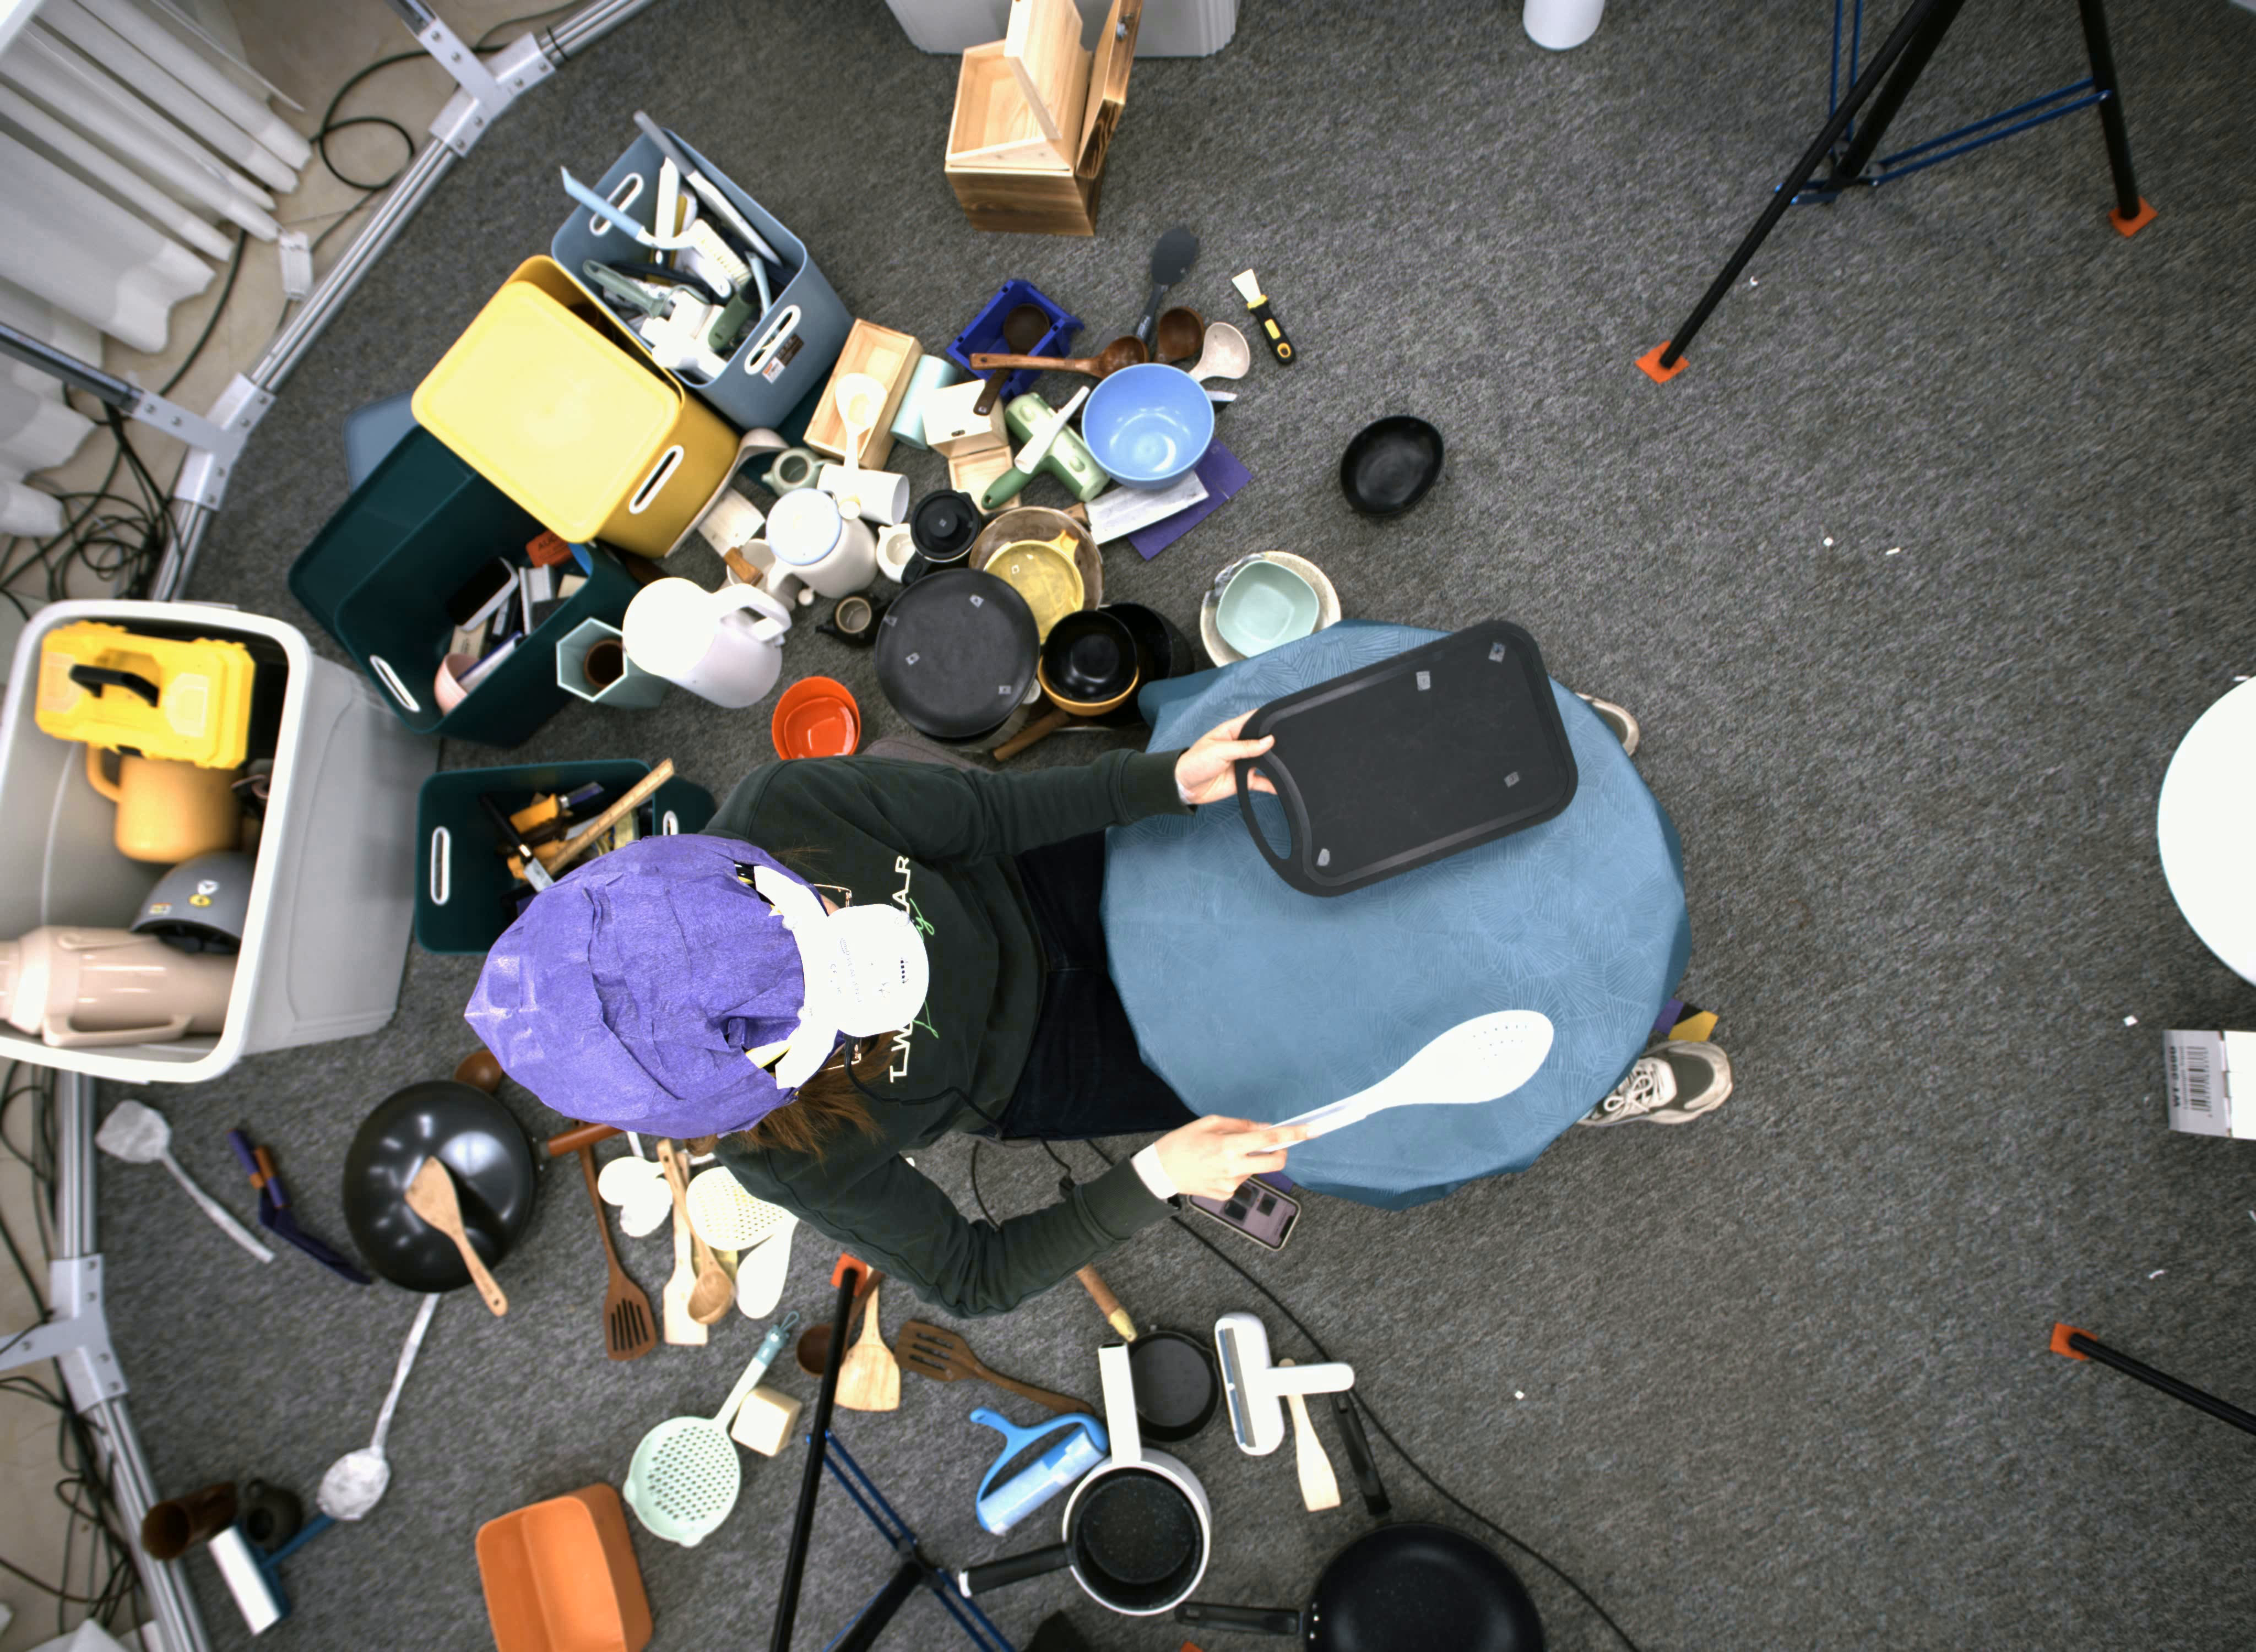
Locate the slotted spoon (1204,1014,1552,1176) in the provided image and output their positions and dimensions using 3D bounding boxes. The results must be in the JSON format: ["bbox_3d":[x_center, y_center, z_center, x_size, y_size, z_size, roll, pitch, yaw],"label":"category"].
[{"bbox_3d":[0.232,0.254,1.293,0.352,0.134,0.046,-20,95,10],"label":"slotted spoon"}]

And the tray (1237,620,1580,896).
[{"bbox_3d":[0.271,-0.061,1.356,0.327,0.009,0.213,-20,103,8],"label":"tray"}]
